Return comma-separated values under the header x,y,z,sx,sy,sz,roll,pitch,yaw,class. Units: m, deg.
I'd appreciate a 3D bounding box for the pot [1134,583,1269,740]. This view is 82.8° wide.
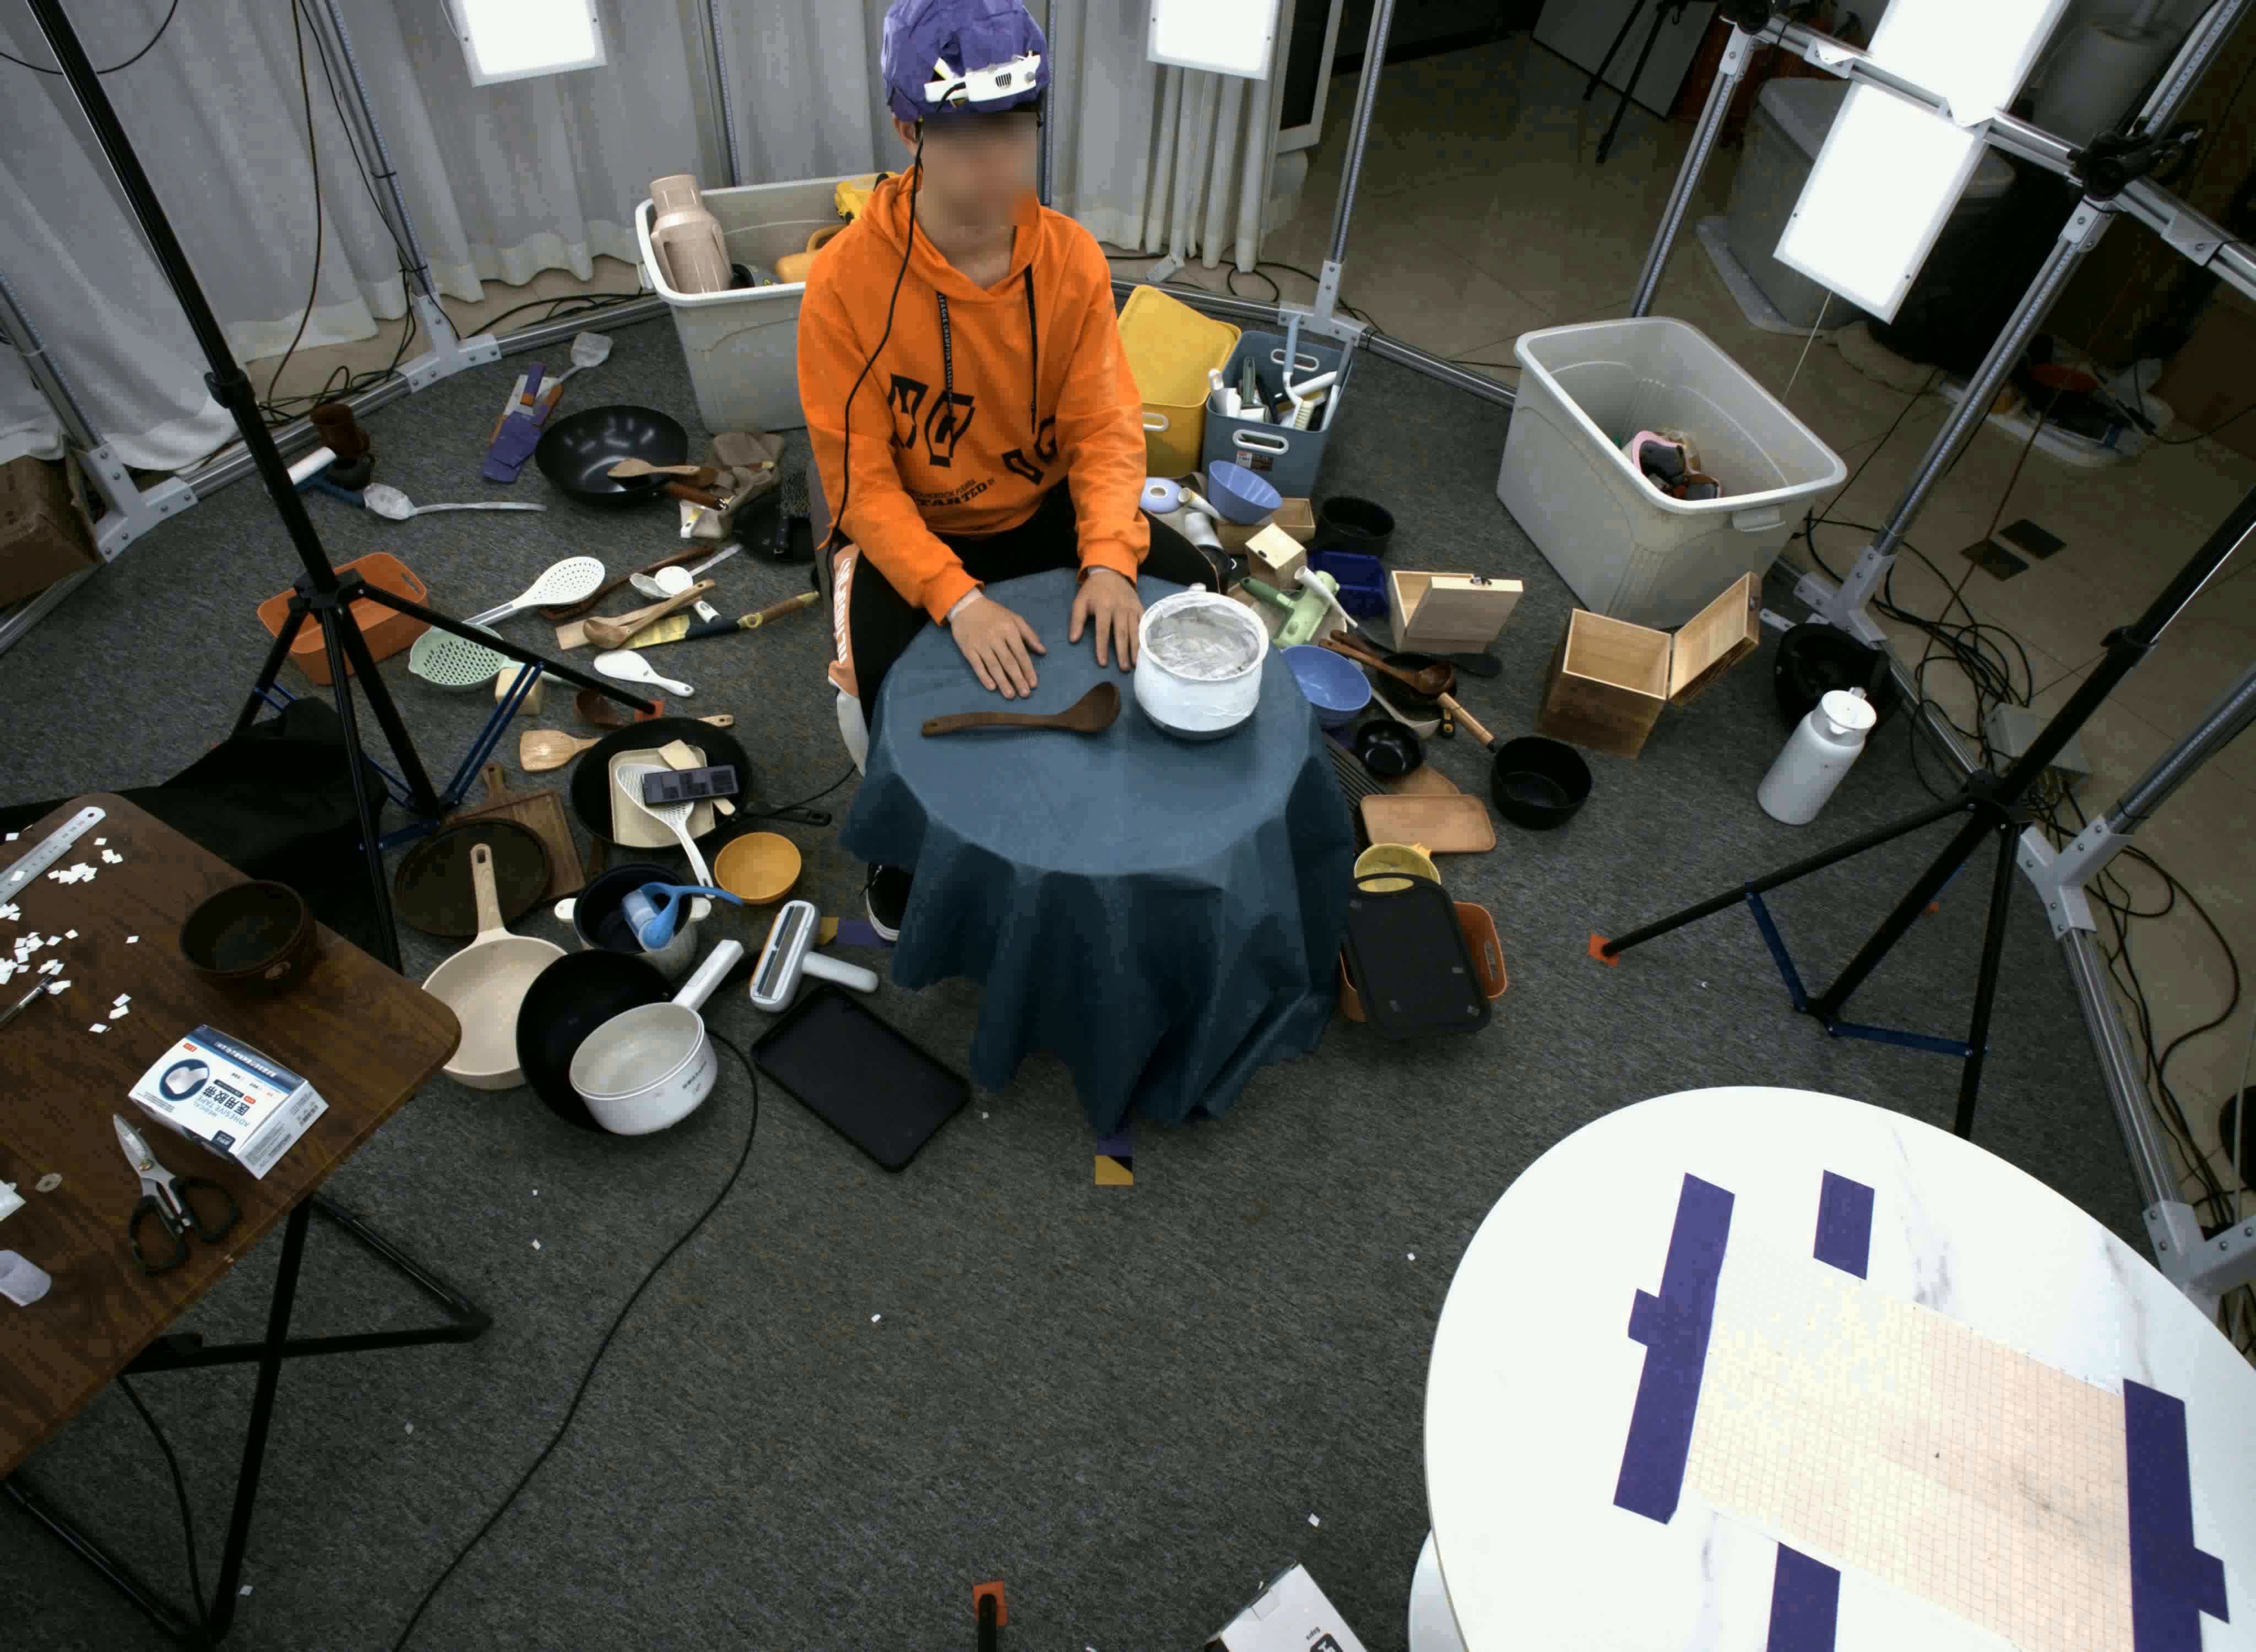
x,y,z,sx,sy,sz,roll,pitch,yaw,class
0.096,-0.239,1.794,0.178,0.133,0.239,0,49,-5,pot

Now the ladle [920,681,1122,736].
x,y,z,sx,sy,sz,roll,pitch,yaw,class
-0.146,-0.158,1.751,0.274,0.069,0.078,-2,46,-7,ladle
